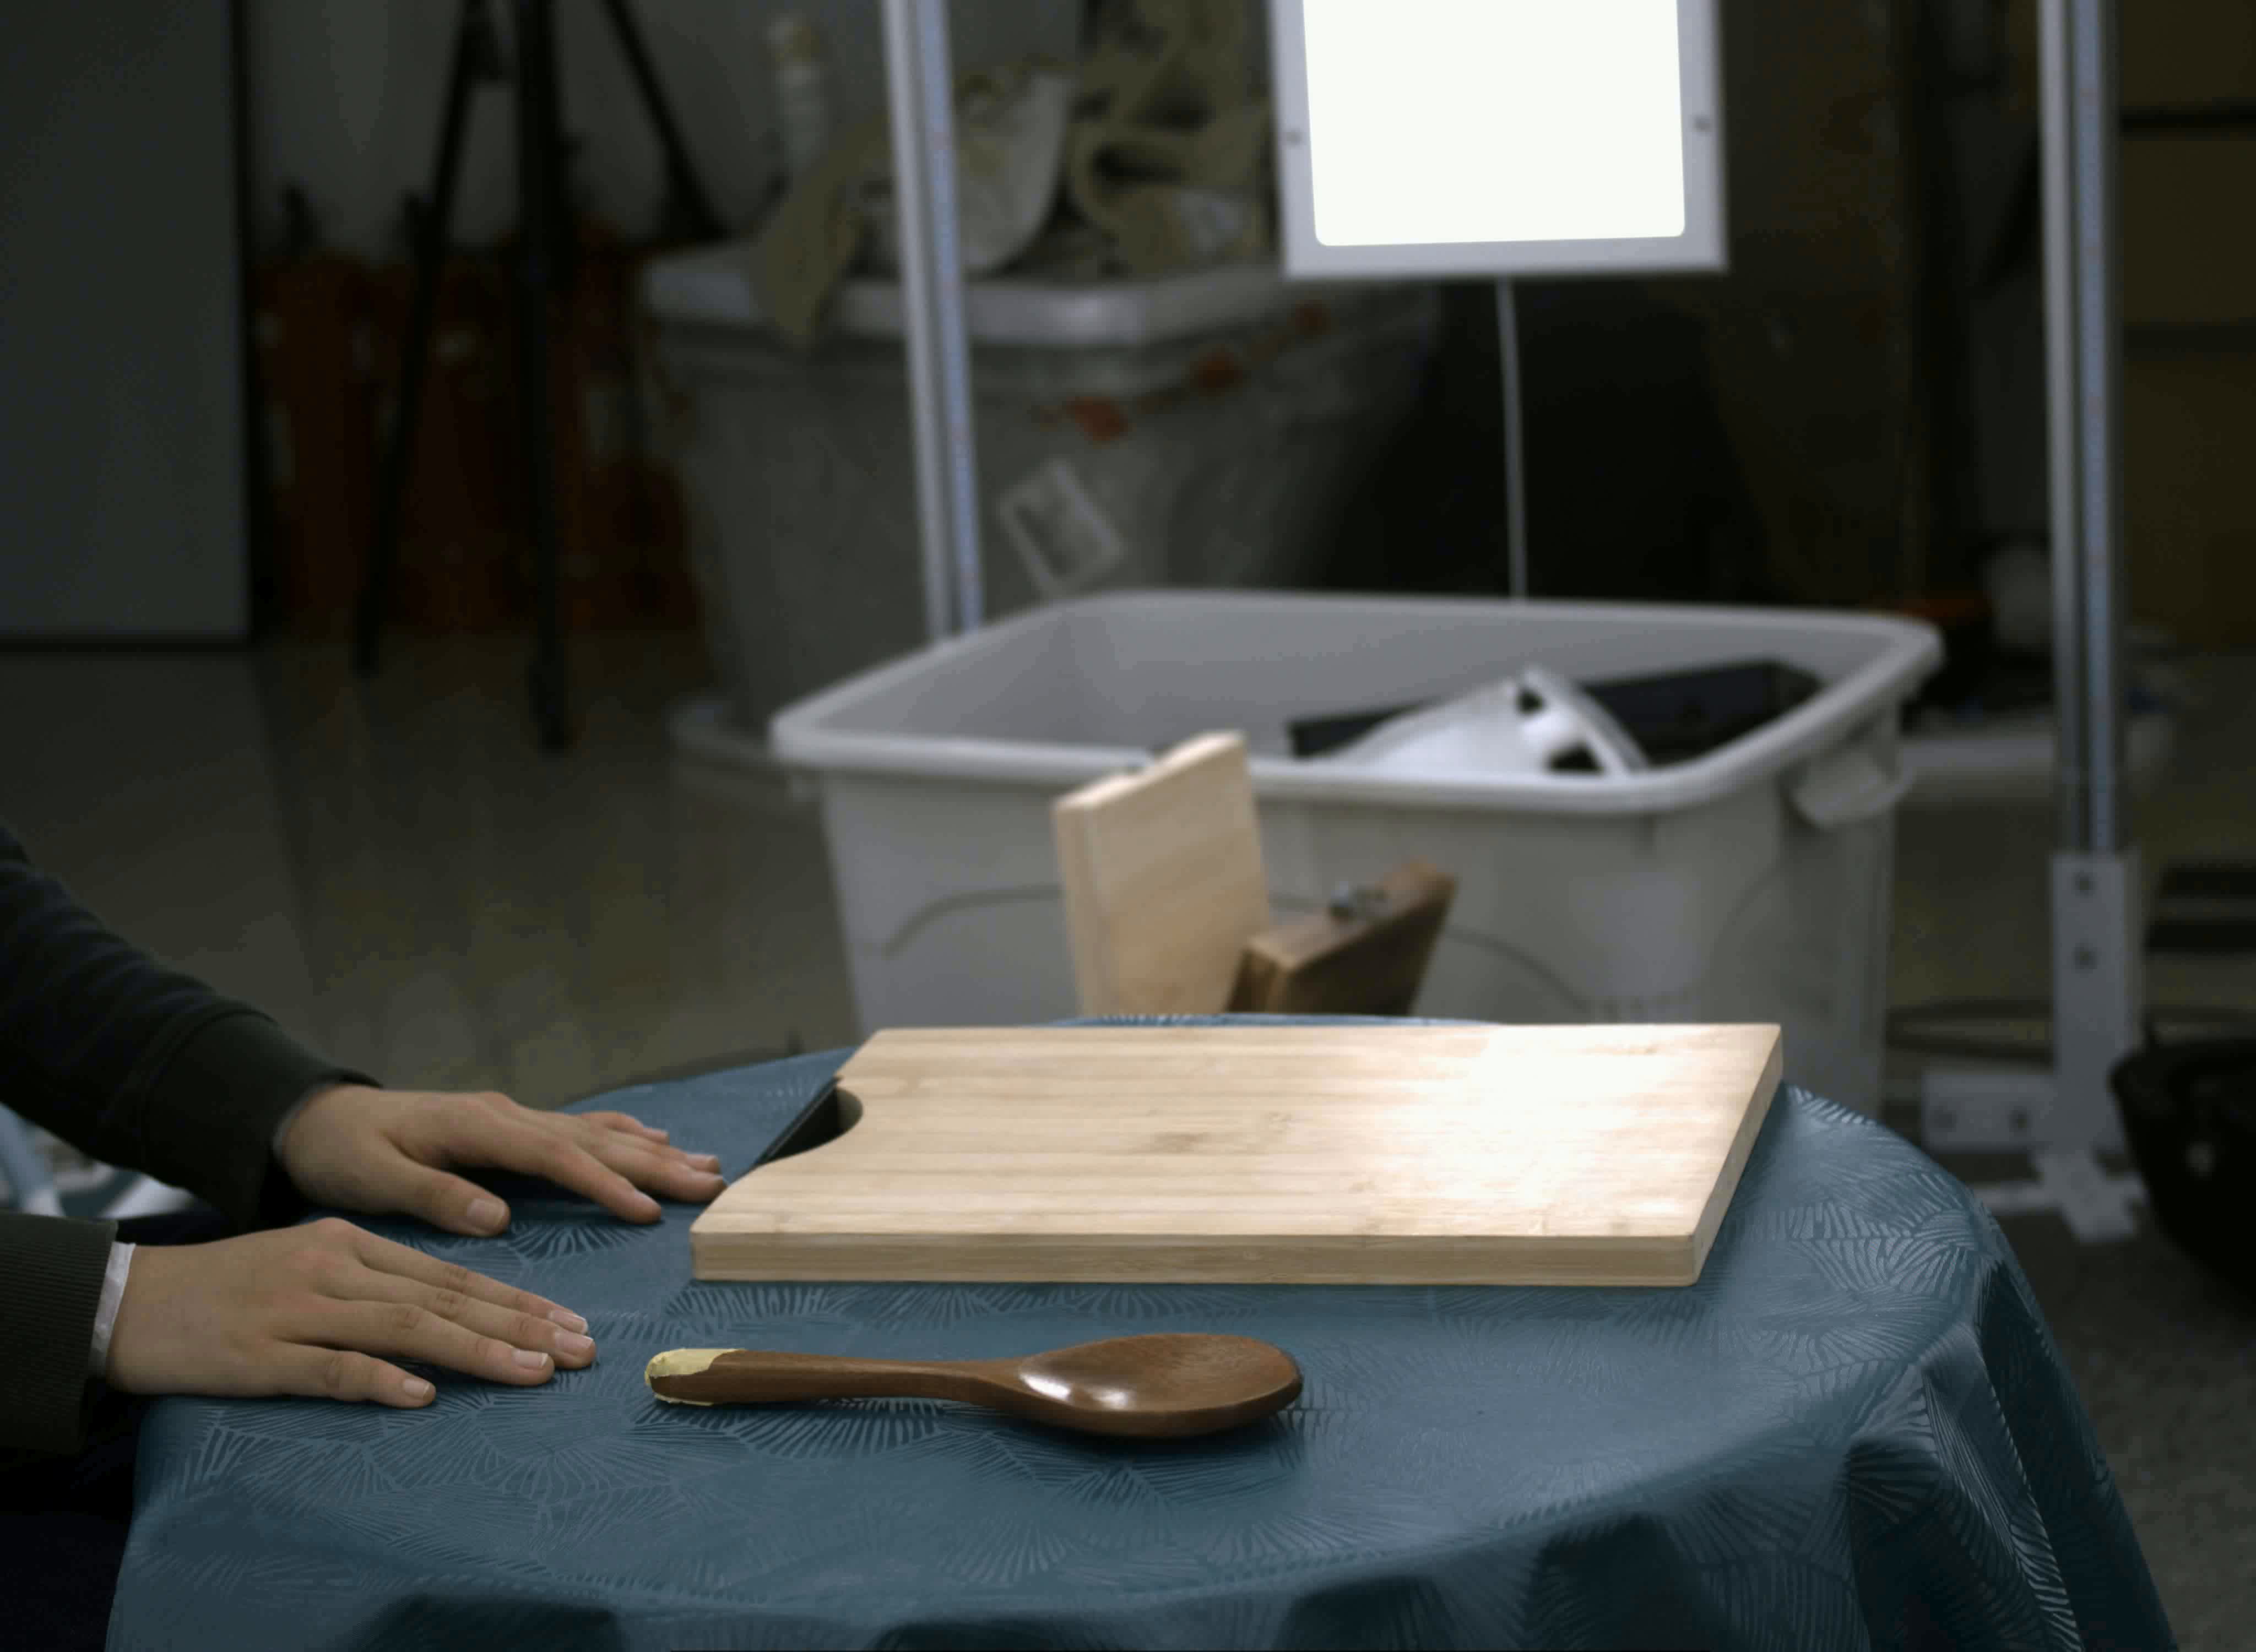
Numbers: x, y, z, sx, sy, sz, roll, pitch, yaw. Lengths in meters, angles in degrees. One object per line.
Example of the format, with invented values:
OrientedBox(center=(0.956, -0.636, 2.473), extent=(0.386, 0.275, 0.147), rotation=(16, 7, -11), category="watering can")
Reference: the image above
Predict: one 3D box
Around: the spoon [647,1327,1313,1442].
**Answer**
OrientedBox(center=(-0.047, 0.171, 1.695), extent=(0.219, 0.017, 0.074), rotation=(1, 16, 21), category="spoon")

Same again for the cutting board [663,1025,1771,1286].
OrientedBox(center=(0.038, 0.112, 1.909), extent=(0.352, 0.023, 0.247), rotation=(-1, 14, 15), category="cutting board")
